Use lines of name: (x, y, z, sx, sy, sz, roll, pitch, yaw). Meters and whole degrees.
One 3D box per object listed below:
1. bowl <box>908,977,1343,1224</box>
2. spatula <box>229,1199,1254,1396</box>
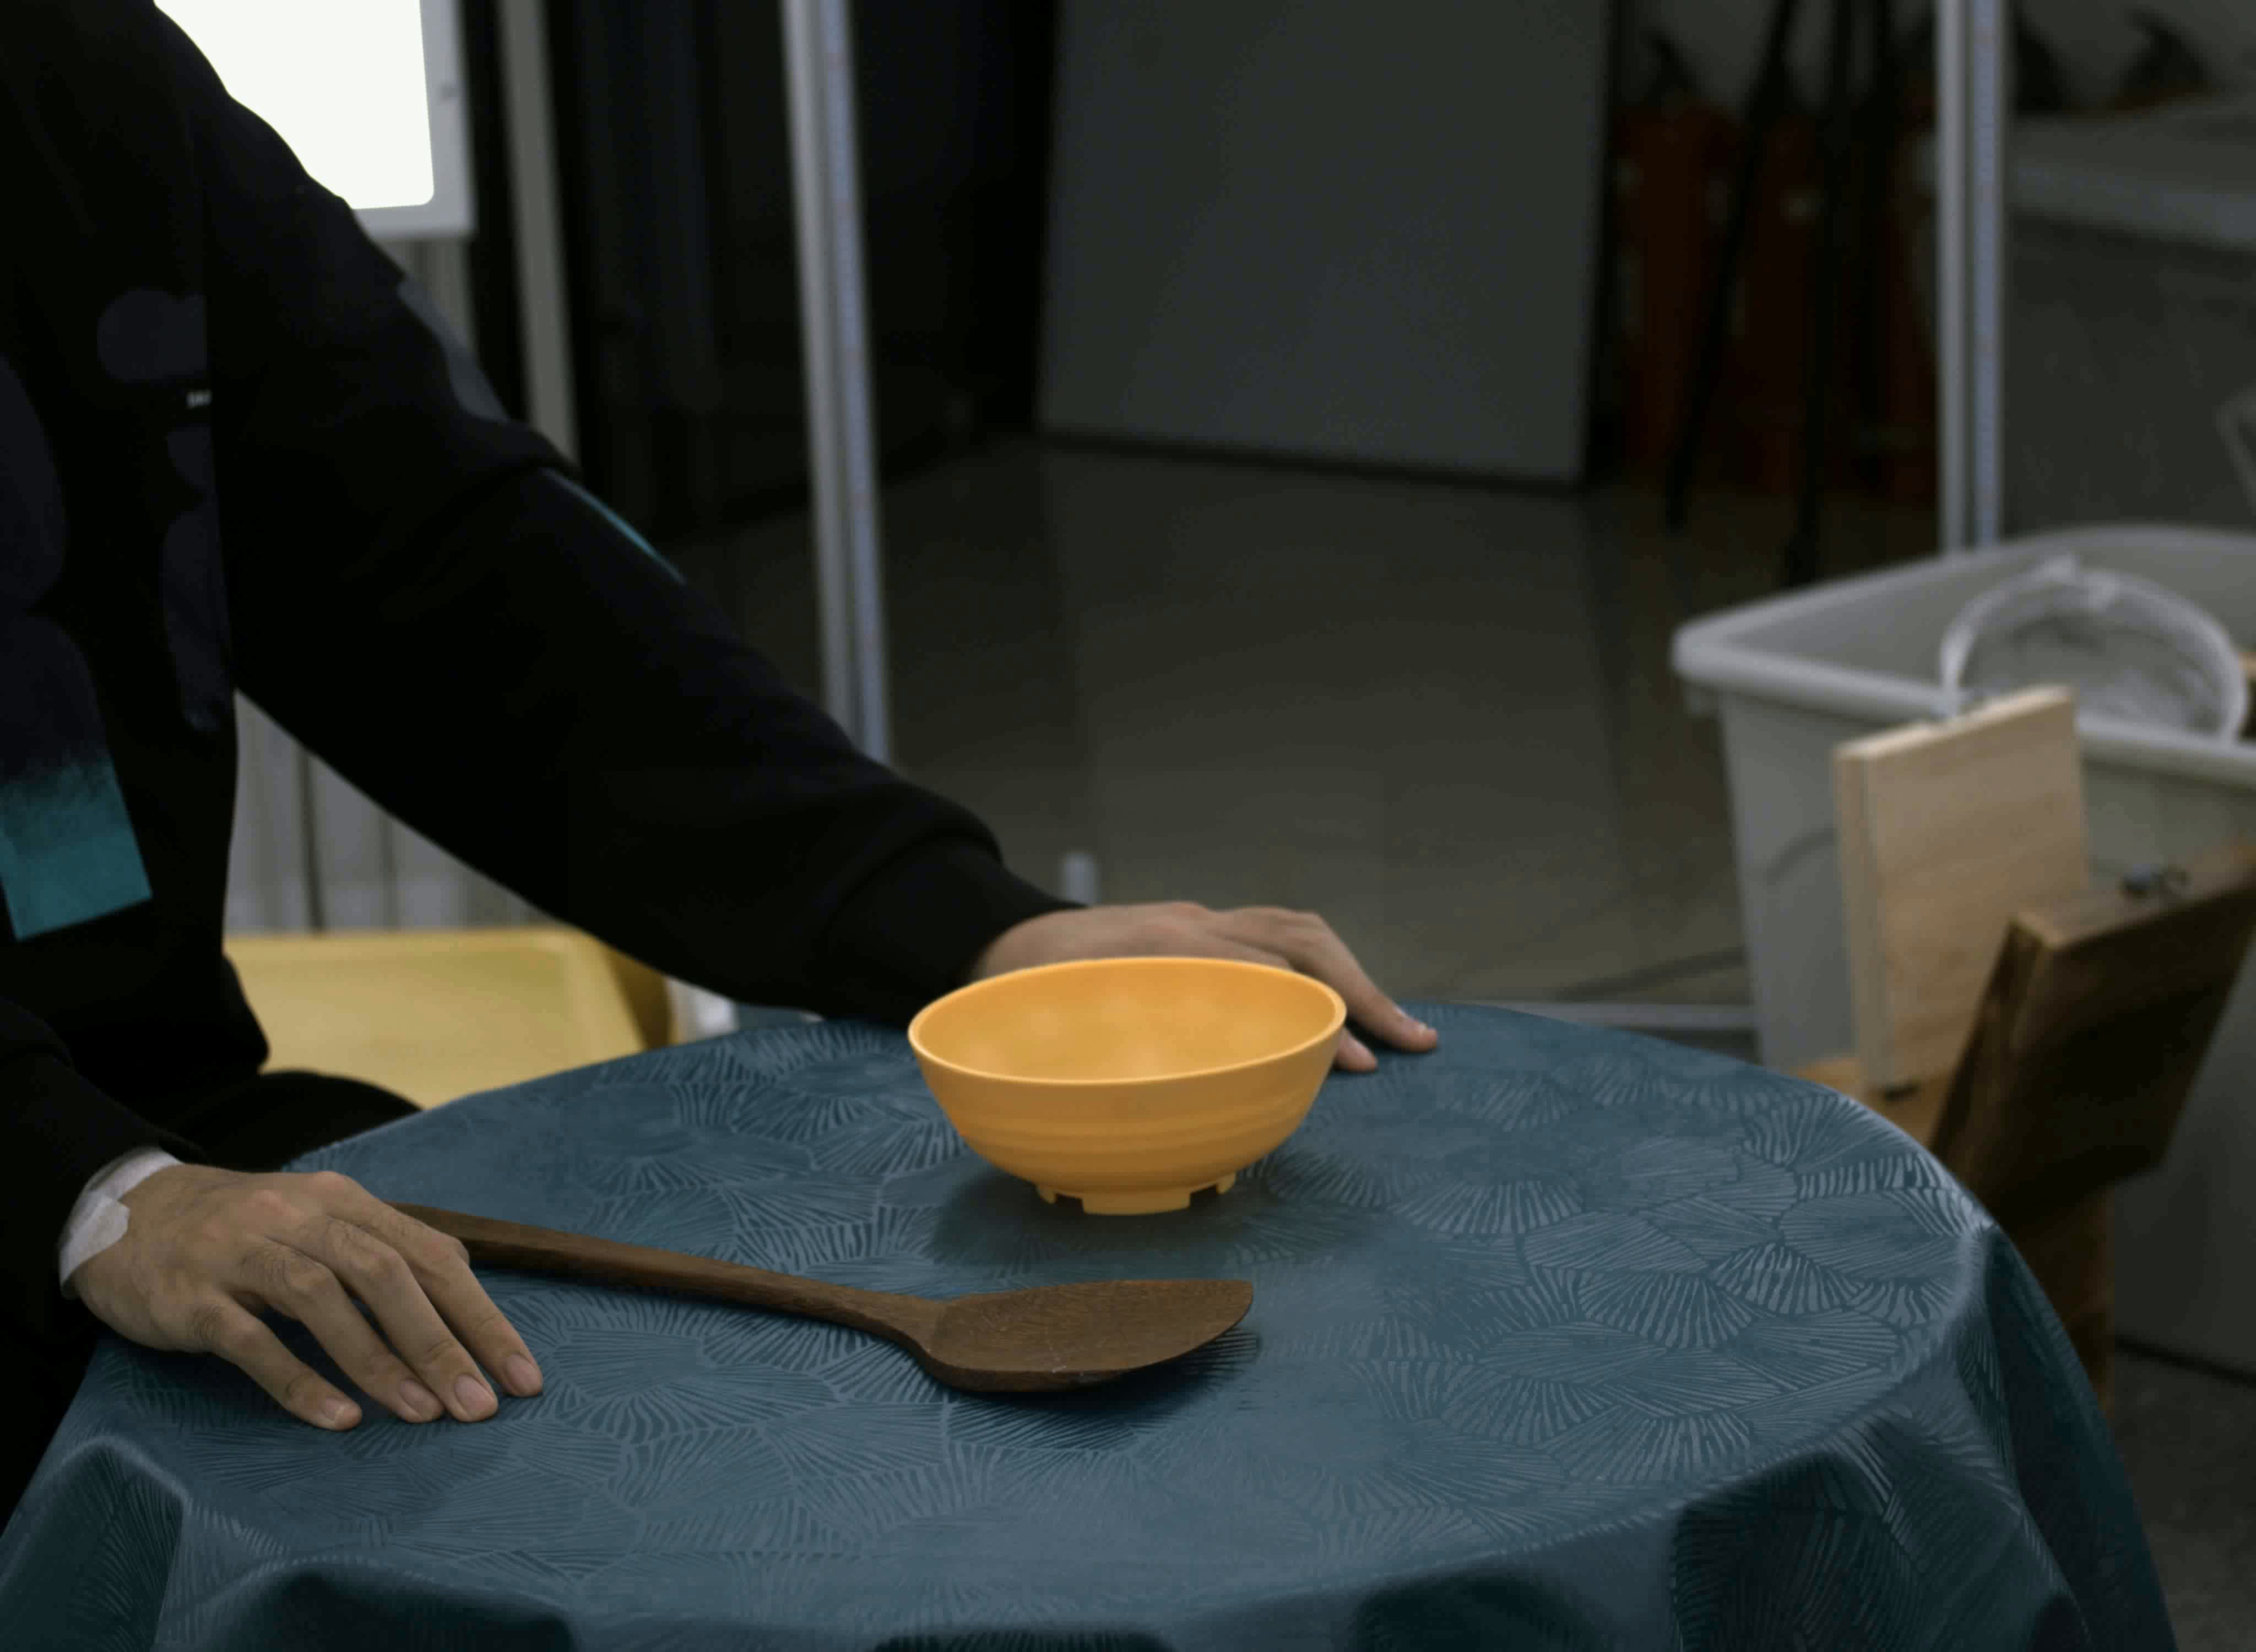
bowl: (0.000, 0.093, 1.769, 0.143, 0.061, 0.145, -3, 11, 0)
spatula: (-0.136, 0.143, 1.695, 0.388, 0.016, 0.094, 5, 16, 33)
